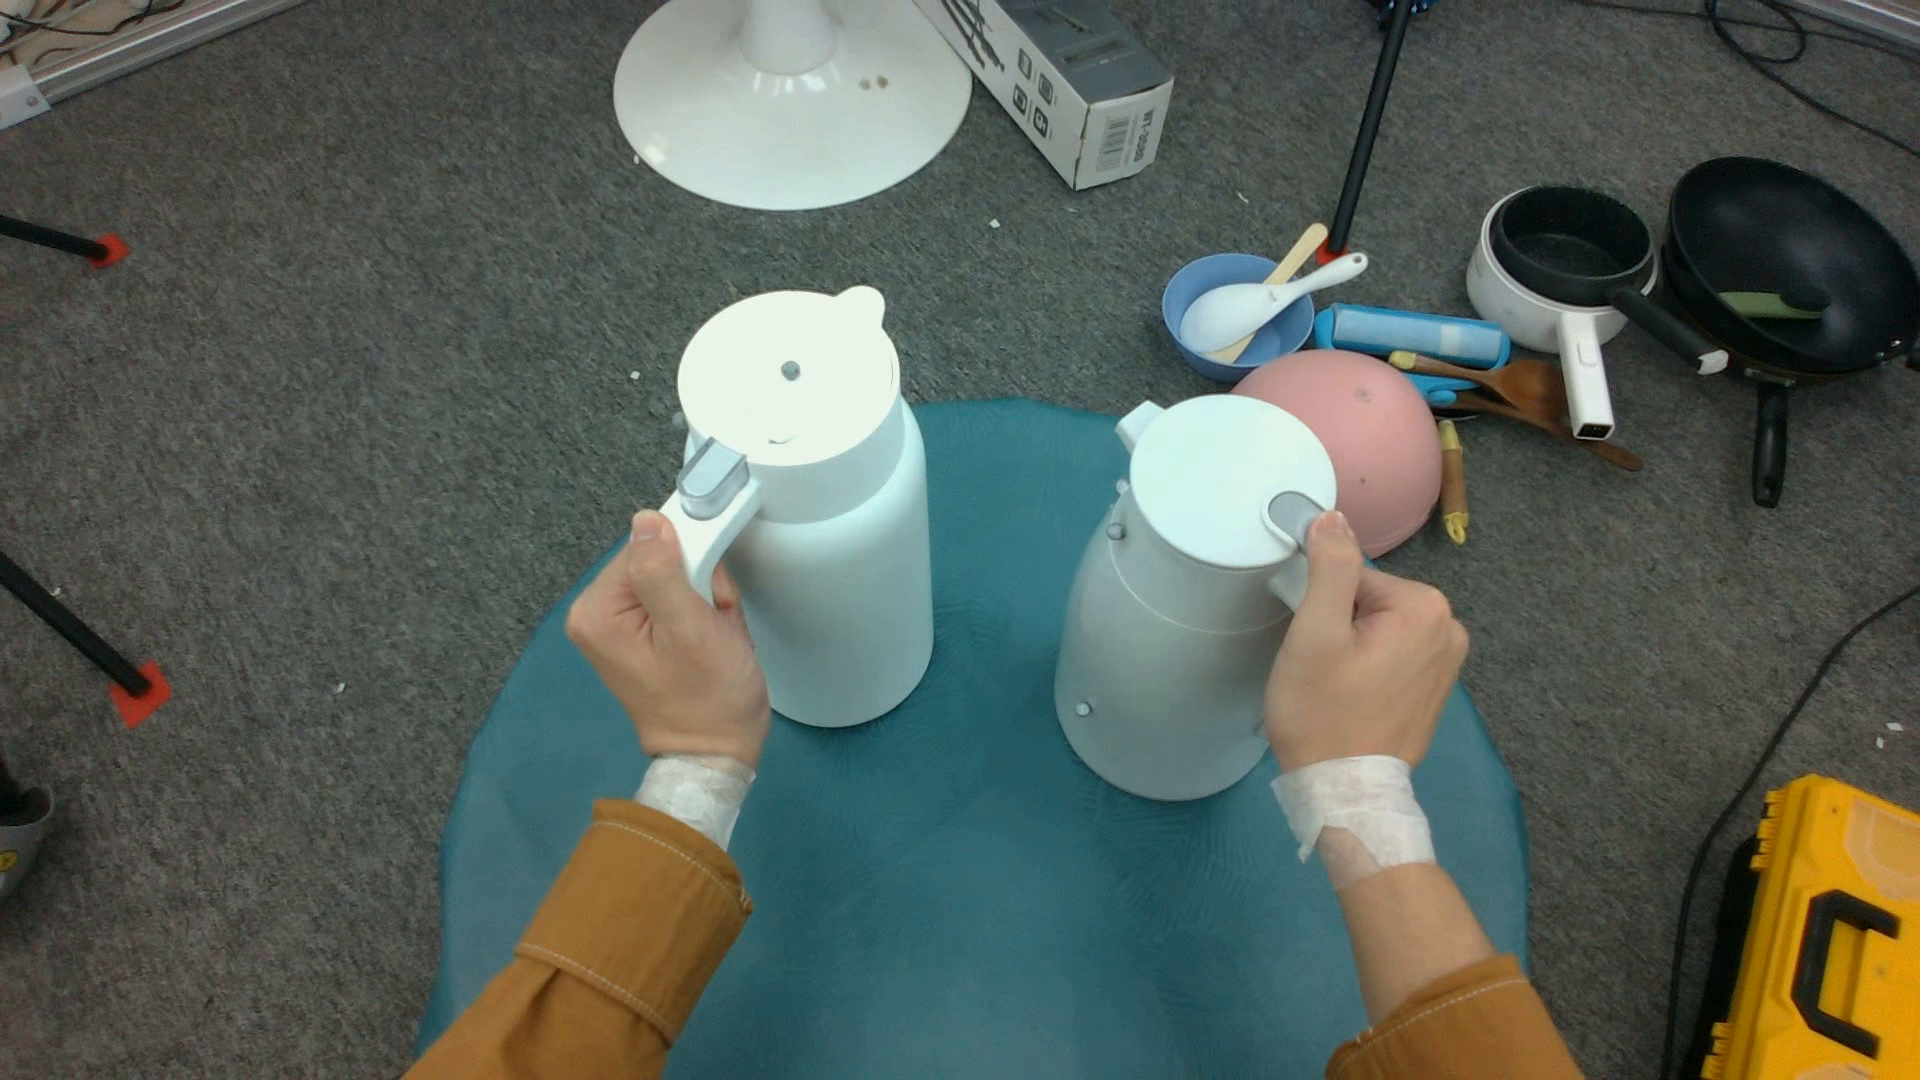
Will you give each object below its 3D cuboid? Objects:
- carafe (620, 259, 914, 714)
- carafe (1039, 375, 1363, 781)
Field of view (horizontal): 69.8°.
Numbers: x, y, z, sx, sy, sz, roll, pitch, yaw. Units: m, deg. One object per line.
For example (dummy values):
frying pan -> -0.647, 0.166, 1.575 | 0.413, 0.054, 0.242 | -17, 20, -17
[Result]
carafe -> -0.092, 0.000, 0.712 | 0.124, 0.267, 0.173 | 27, 62, 12
carafe -> 0.126, 0.032, 0.706 | 0.133, 0.247, 0.168 | -39, 68, -20
